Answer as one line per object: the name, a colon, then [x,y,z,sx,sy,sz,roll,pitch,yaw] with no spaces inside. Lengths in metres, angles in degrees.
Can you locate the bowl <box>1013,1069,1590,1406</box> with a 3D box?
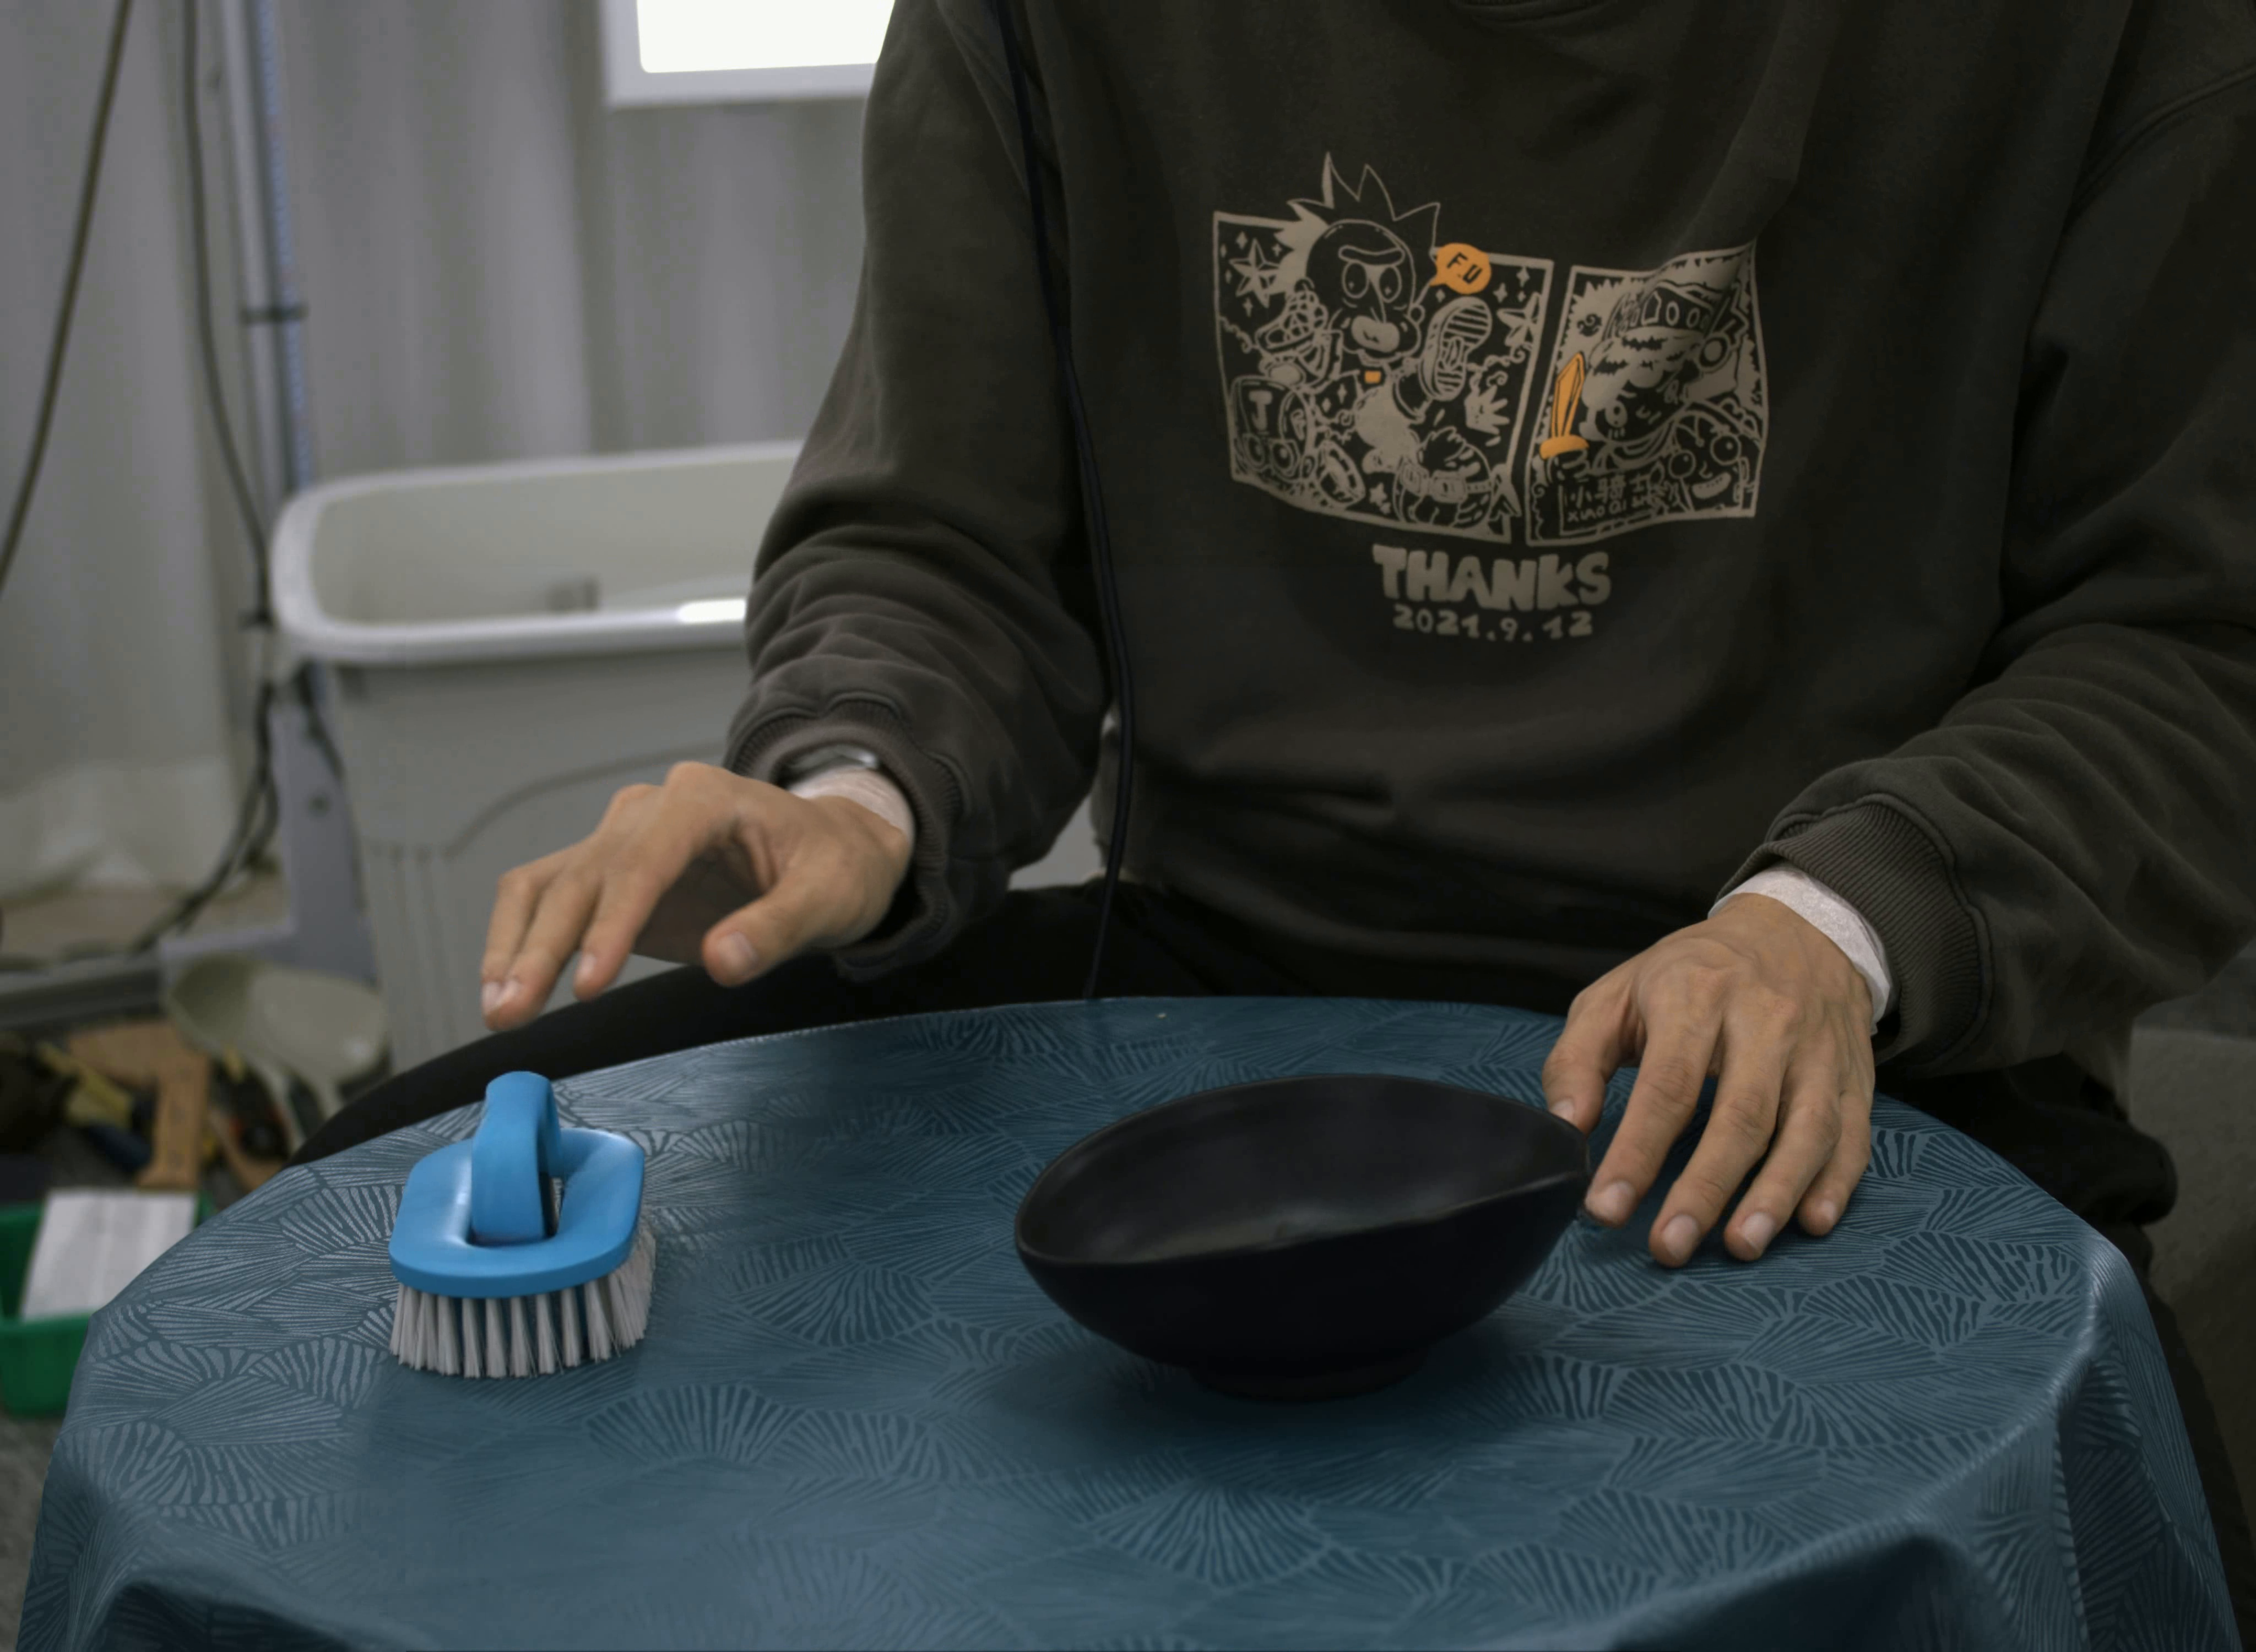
bowl: [0.052,0.124,1.559,0.169,0.066,0.138,-11,16,-22]

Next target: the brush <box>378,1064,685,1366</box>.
brush: [-0.180,0.111,1.647,0.084,0.063,0.143,-7,14,2]
